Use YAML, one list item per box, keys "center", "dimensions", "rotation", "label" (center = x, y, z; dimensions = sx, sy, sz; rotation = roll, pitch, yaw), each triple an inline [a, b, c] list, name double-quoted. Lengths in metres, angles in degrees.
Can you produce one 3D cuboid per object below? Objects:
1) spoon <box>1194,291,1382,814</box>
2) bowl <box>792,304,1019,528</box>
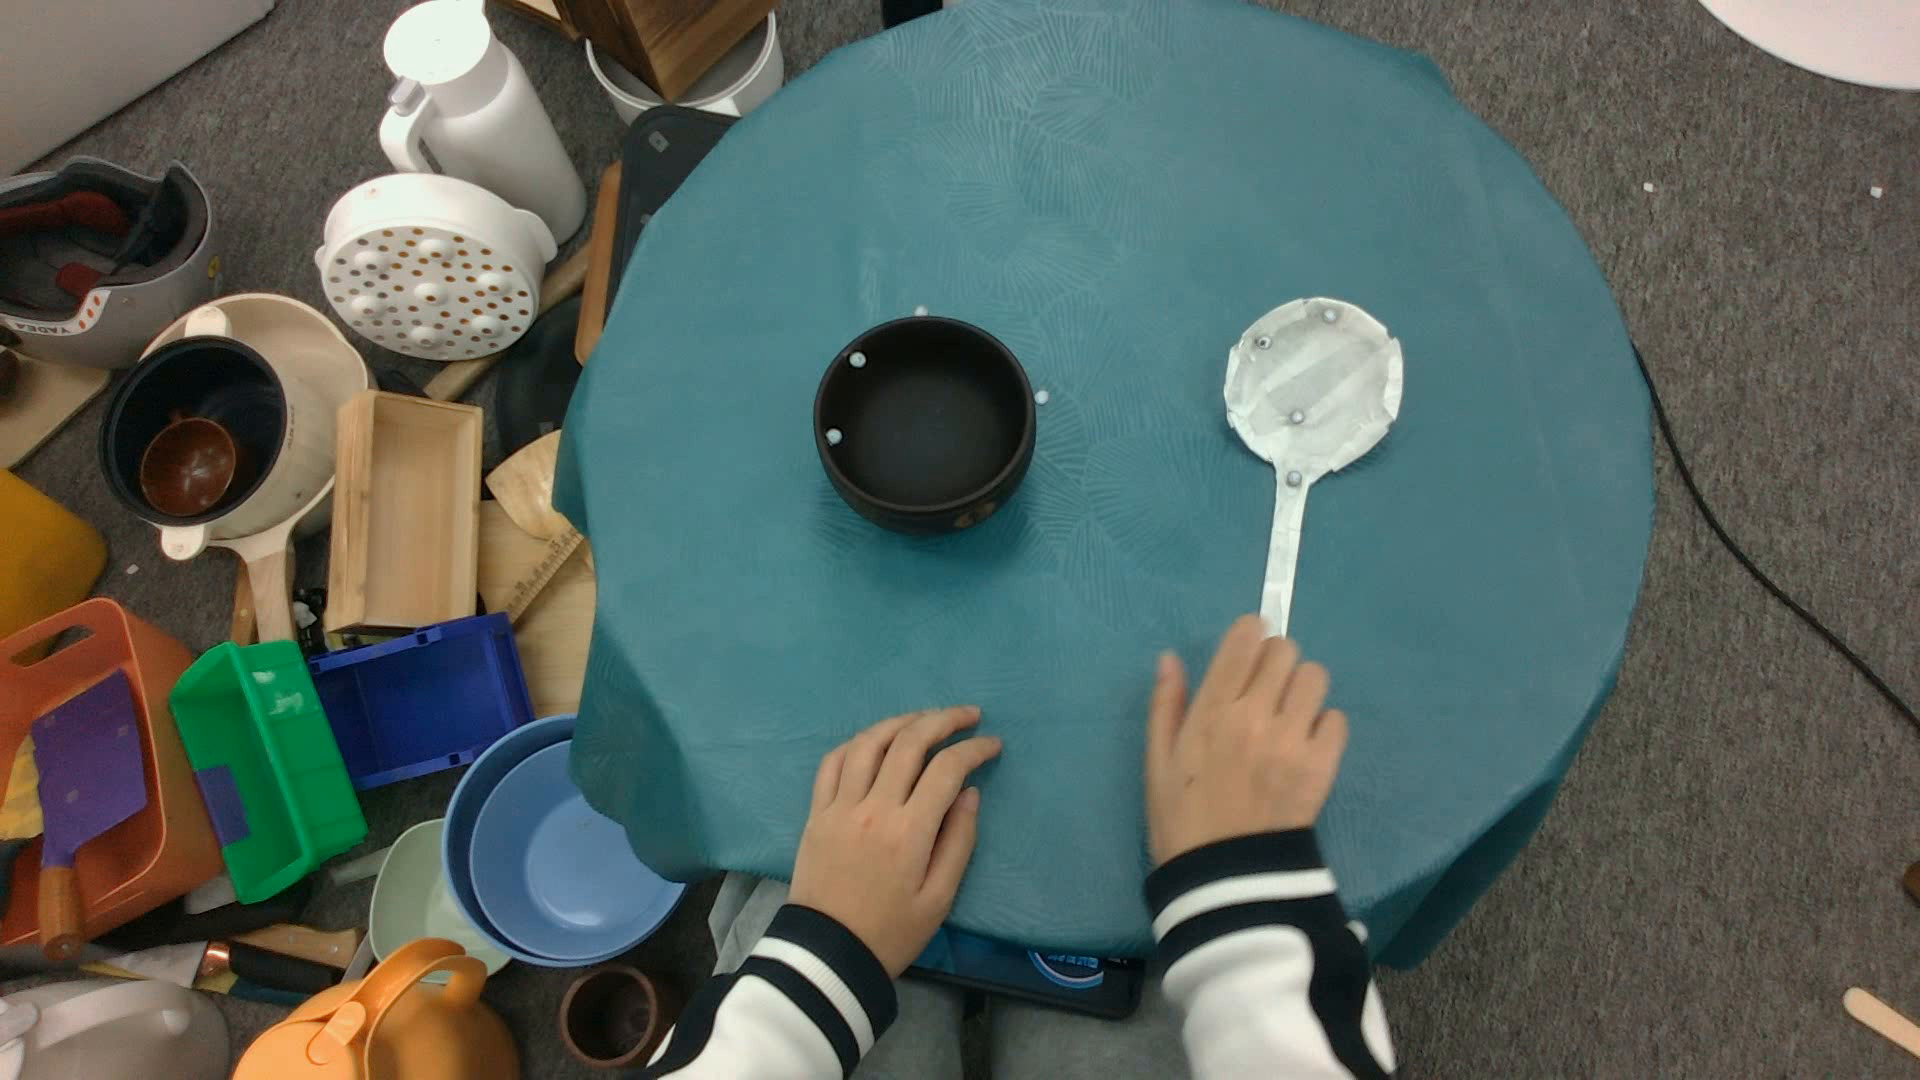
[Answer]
- center: [0.154, 0.002, 0.717]
  dimensions: [0.100, 0.059, 0.278]
  rotation: [12, 69, 9]
  label: "spoon"
- center: [-0.027, -0.060, 0.736]
  dimensions: [0.118, 0.069, 0.118]
  rotation: [-1, 69, 2]
  label: "bowl"
